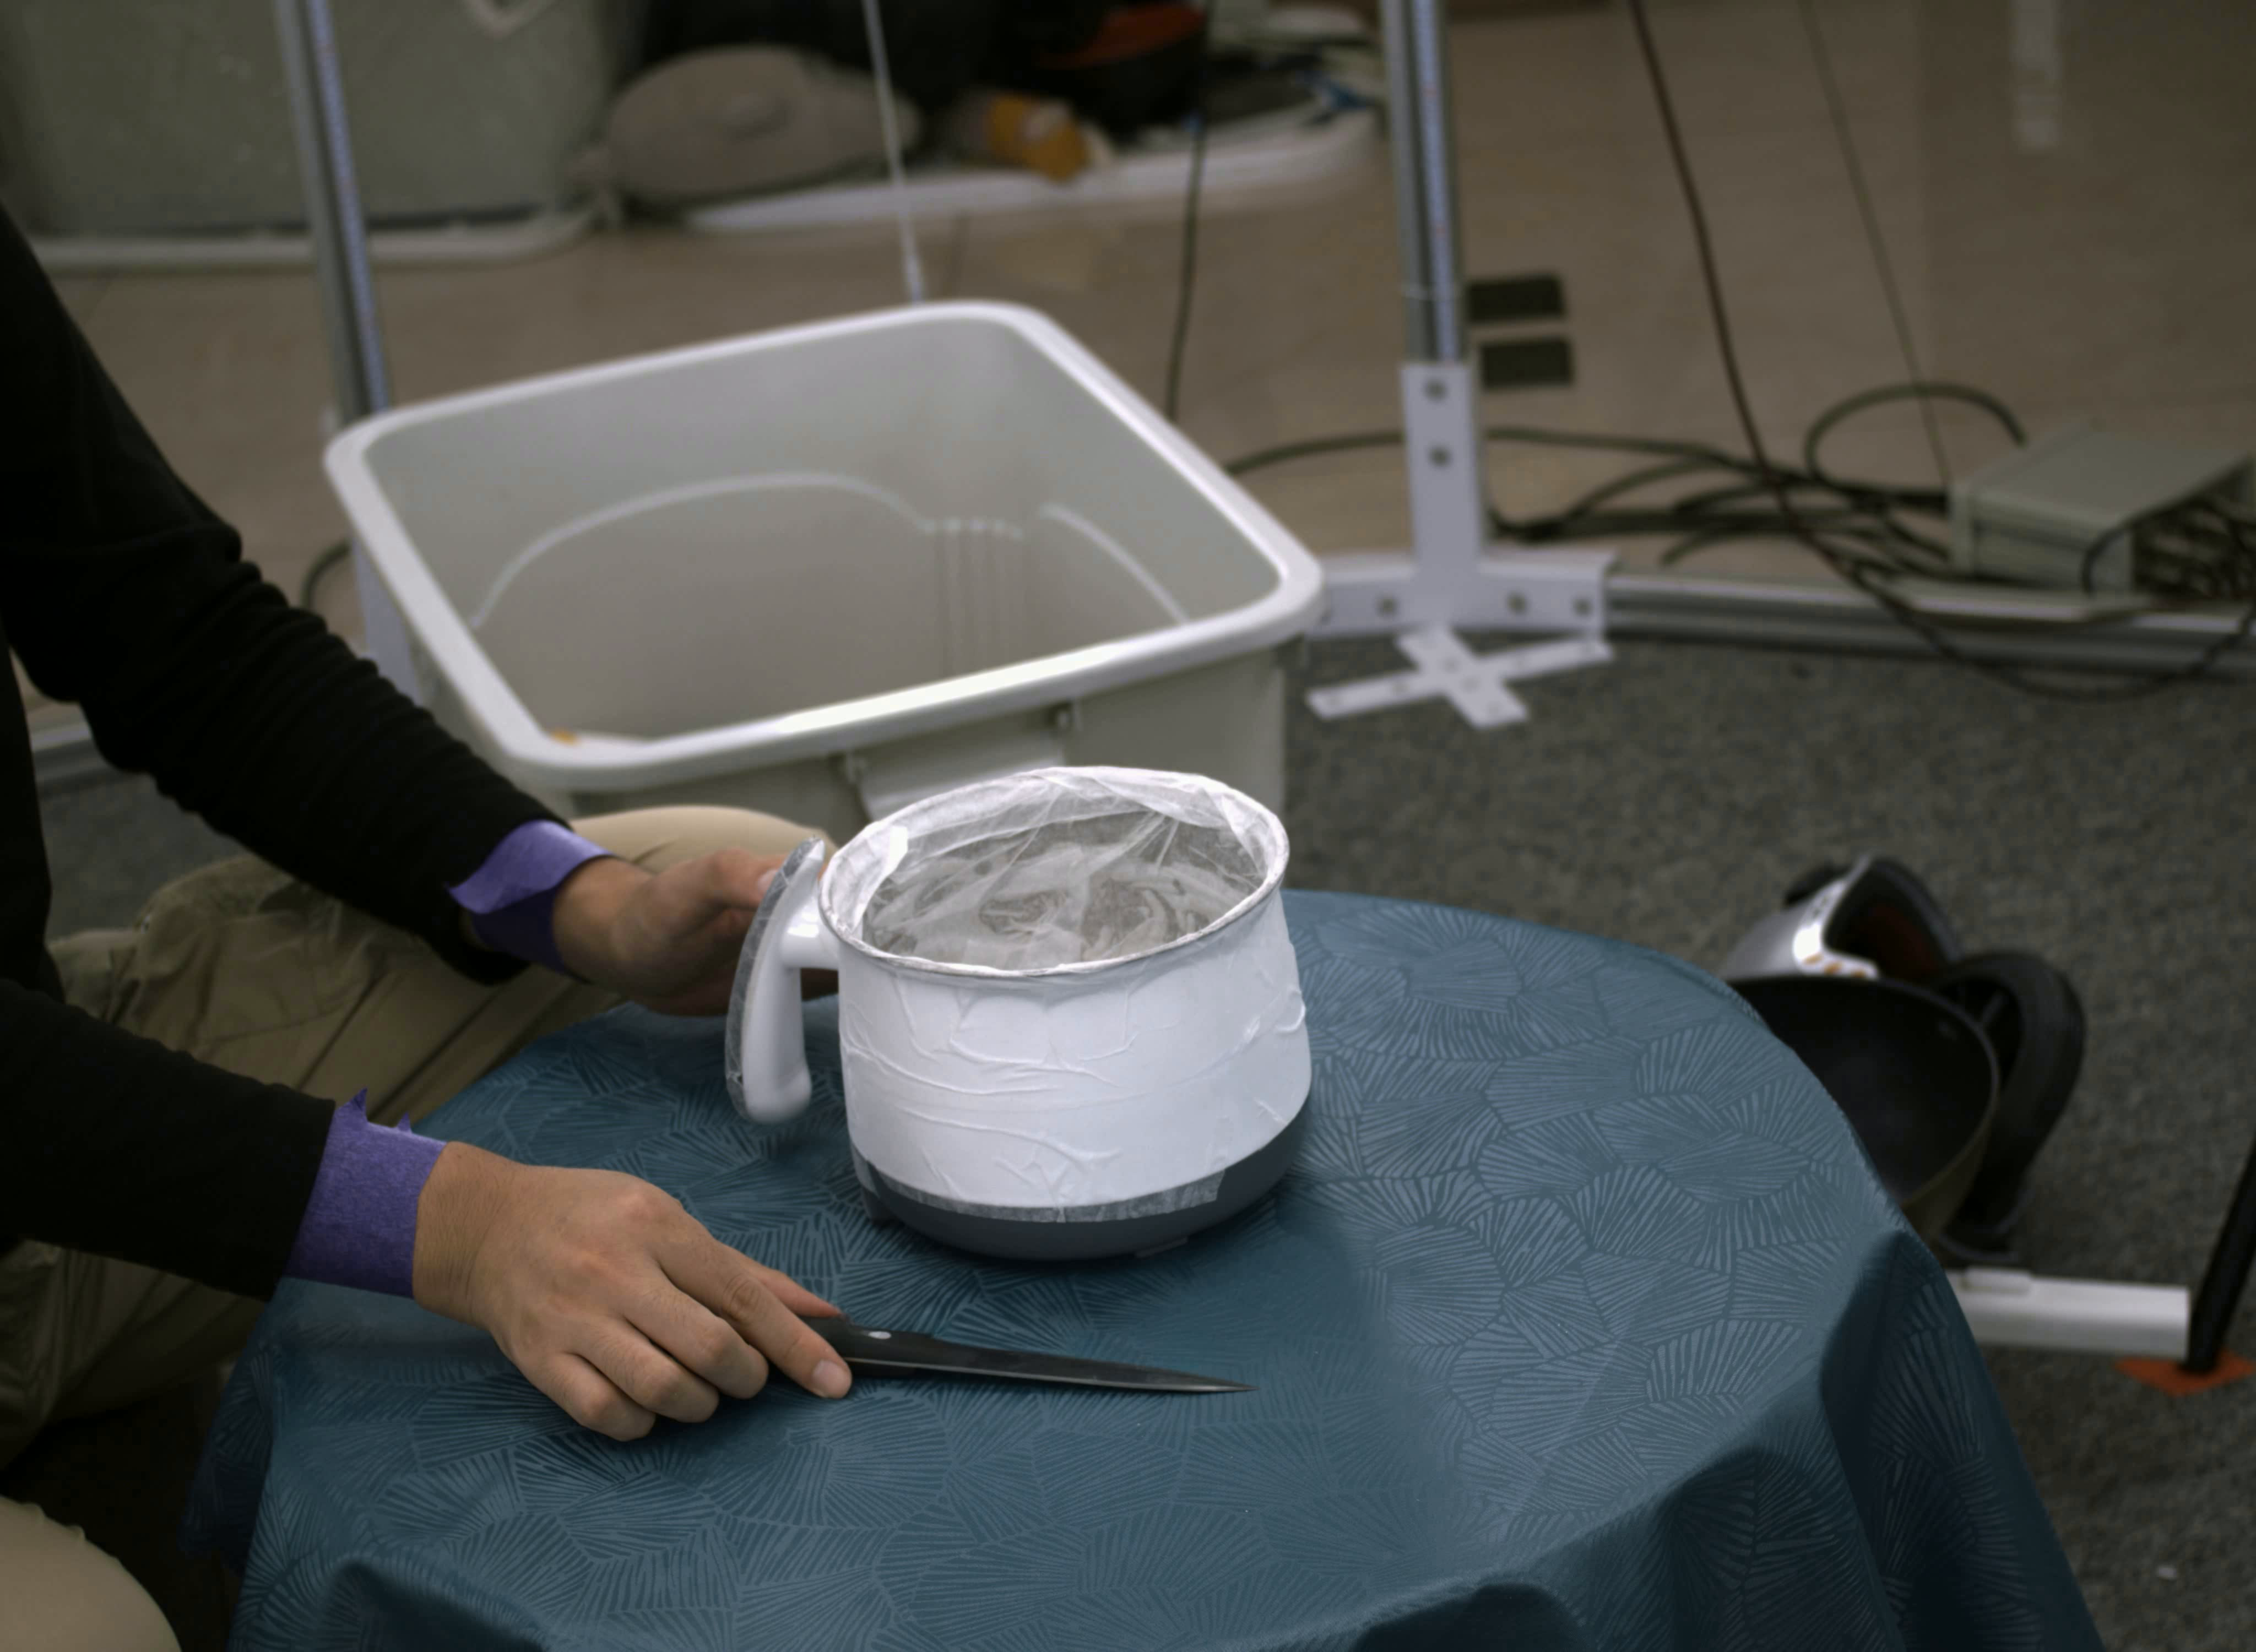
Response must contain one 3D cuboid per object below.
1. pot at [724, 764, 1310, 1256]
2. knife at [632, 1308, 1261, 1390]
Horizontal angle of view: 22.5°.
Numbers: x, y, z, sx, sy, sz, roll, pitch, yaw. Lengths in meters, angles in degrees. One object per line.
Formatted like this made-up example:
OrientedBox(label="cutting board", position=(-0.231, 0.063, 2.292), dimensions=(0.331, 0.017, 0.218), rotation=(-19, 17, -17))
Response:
OrientedBox(label="pot", position=(-0.047, 0.069, 2.142), dimensions=(0.233, 0.139, 0.176), rotation=(5, 27, 20))
OrientedBox(label="knife", position=(-0.068, 0.191, 2.041), dimensions=(0.237, 0.016, 0.024), rotation=(4, 14, 15))
